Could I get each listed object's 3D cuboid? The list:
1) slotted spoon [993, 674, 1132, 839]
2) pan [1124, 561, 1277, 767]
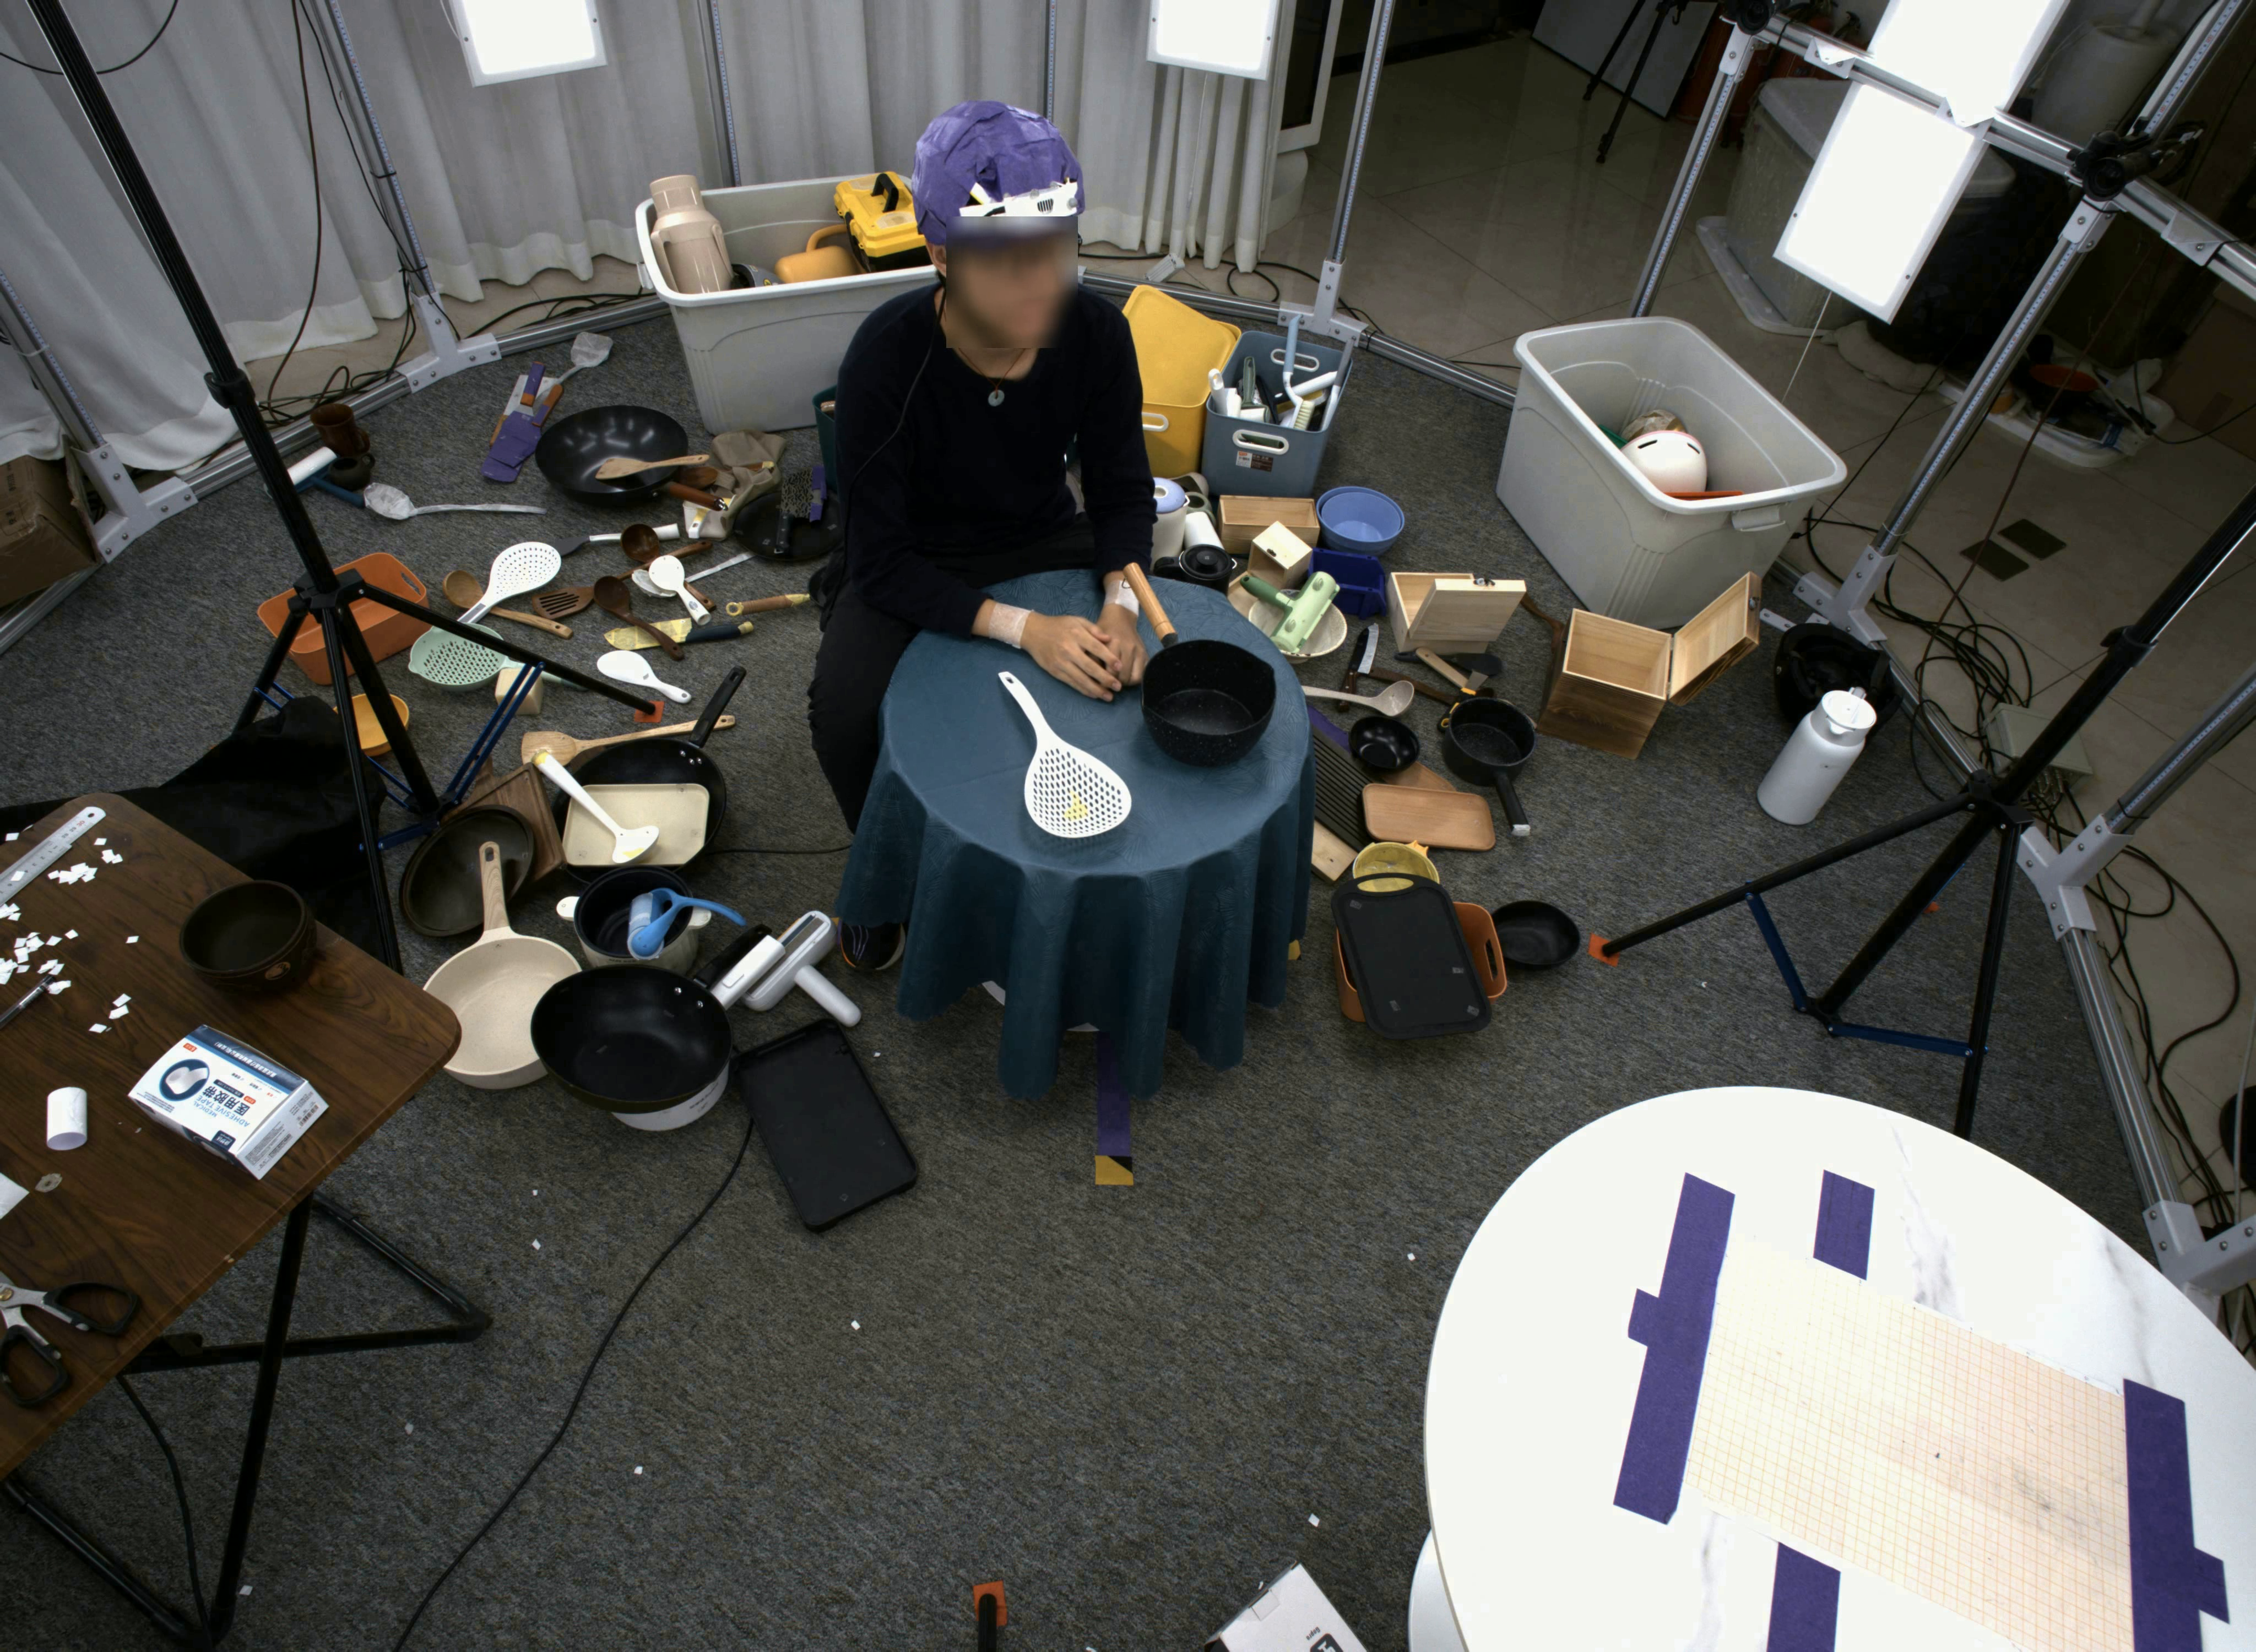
[{"bbox_3d":[-0.109,-0.105,1.725,0.137,0.049,0.356,-17,54,-16],"label":"slotted spoon"},{"bbox_3d":[0.072,-0.228,1.802,0.208,0.105,0.350,-20,54,-18],"label":"pan"}]
